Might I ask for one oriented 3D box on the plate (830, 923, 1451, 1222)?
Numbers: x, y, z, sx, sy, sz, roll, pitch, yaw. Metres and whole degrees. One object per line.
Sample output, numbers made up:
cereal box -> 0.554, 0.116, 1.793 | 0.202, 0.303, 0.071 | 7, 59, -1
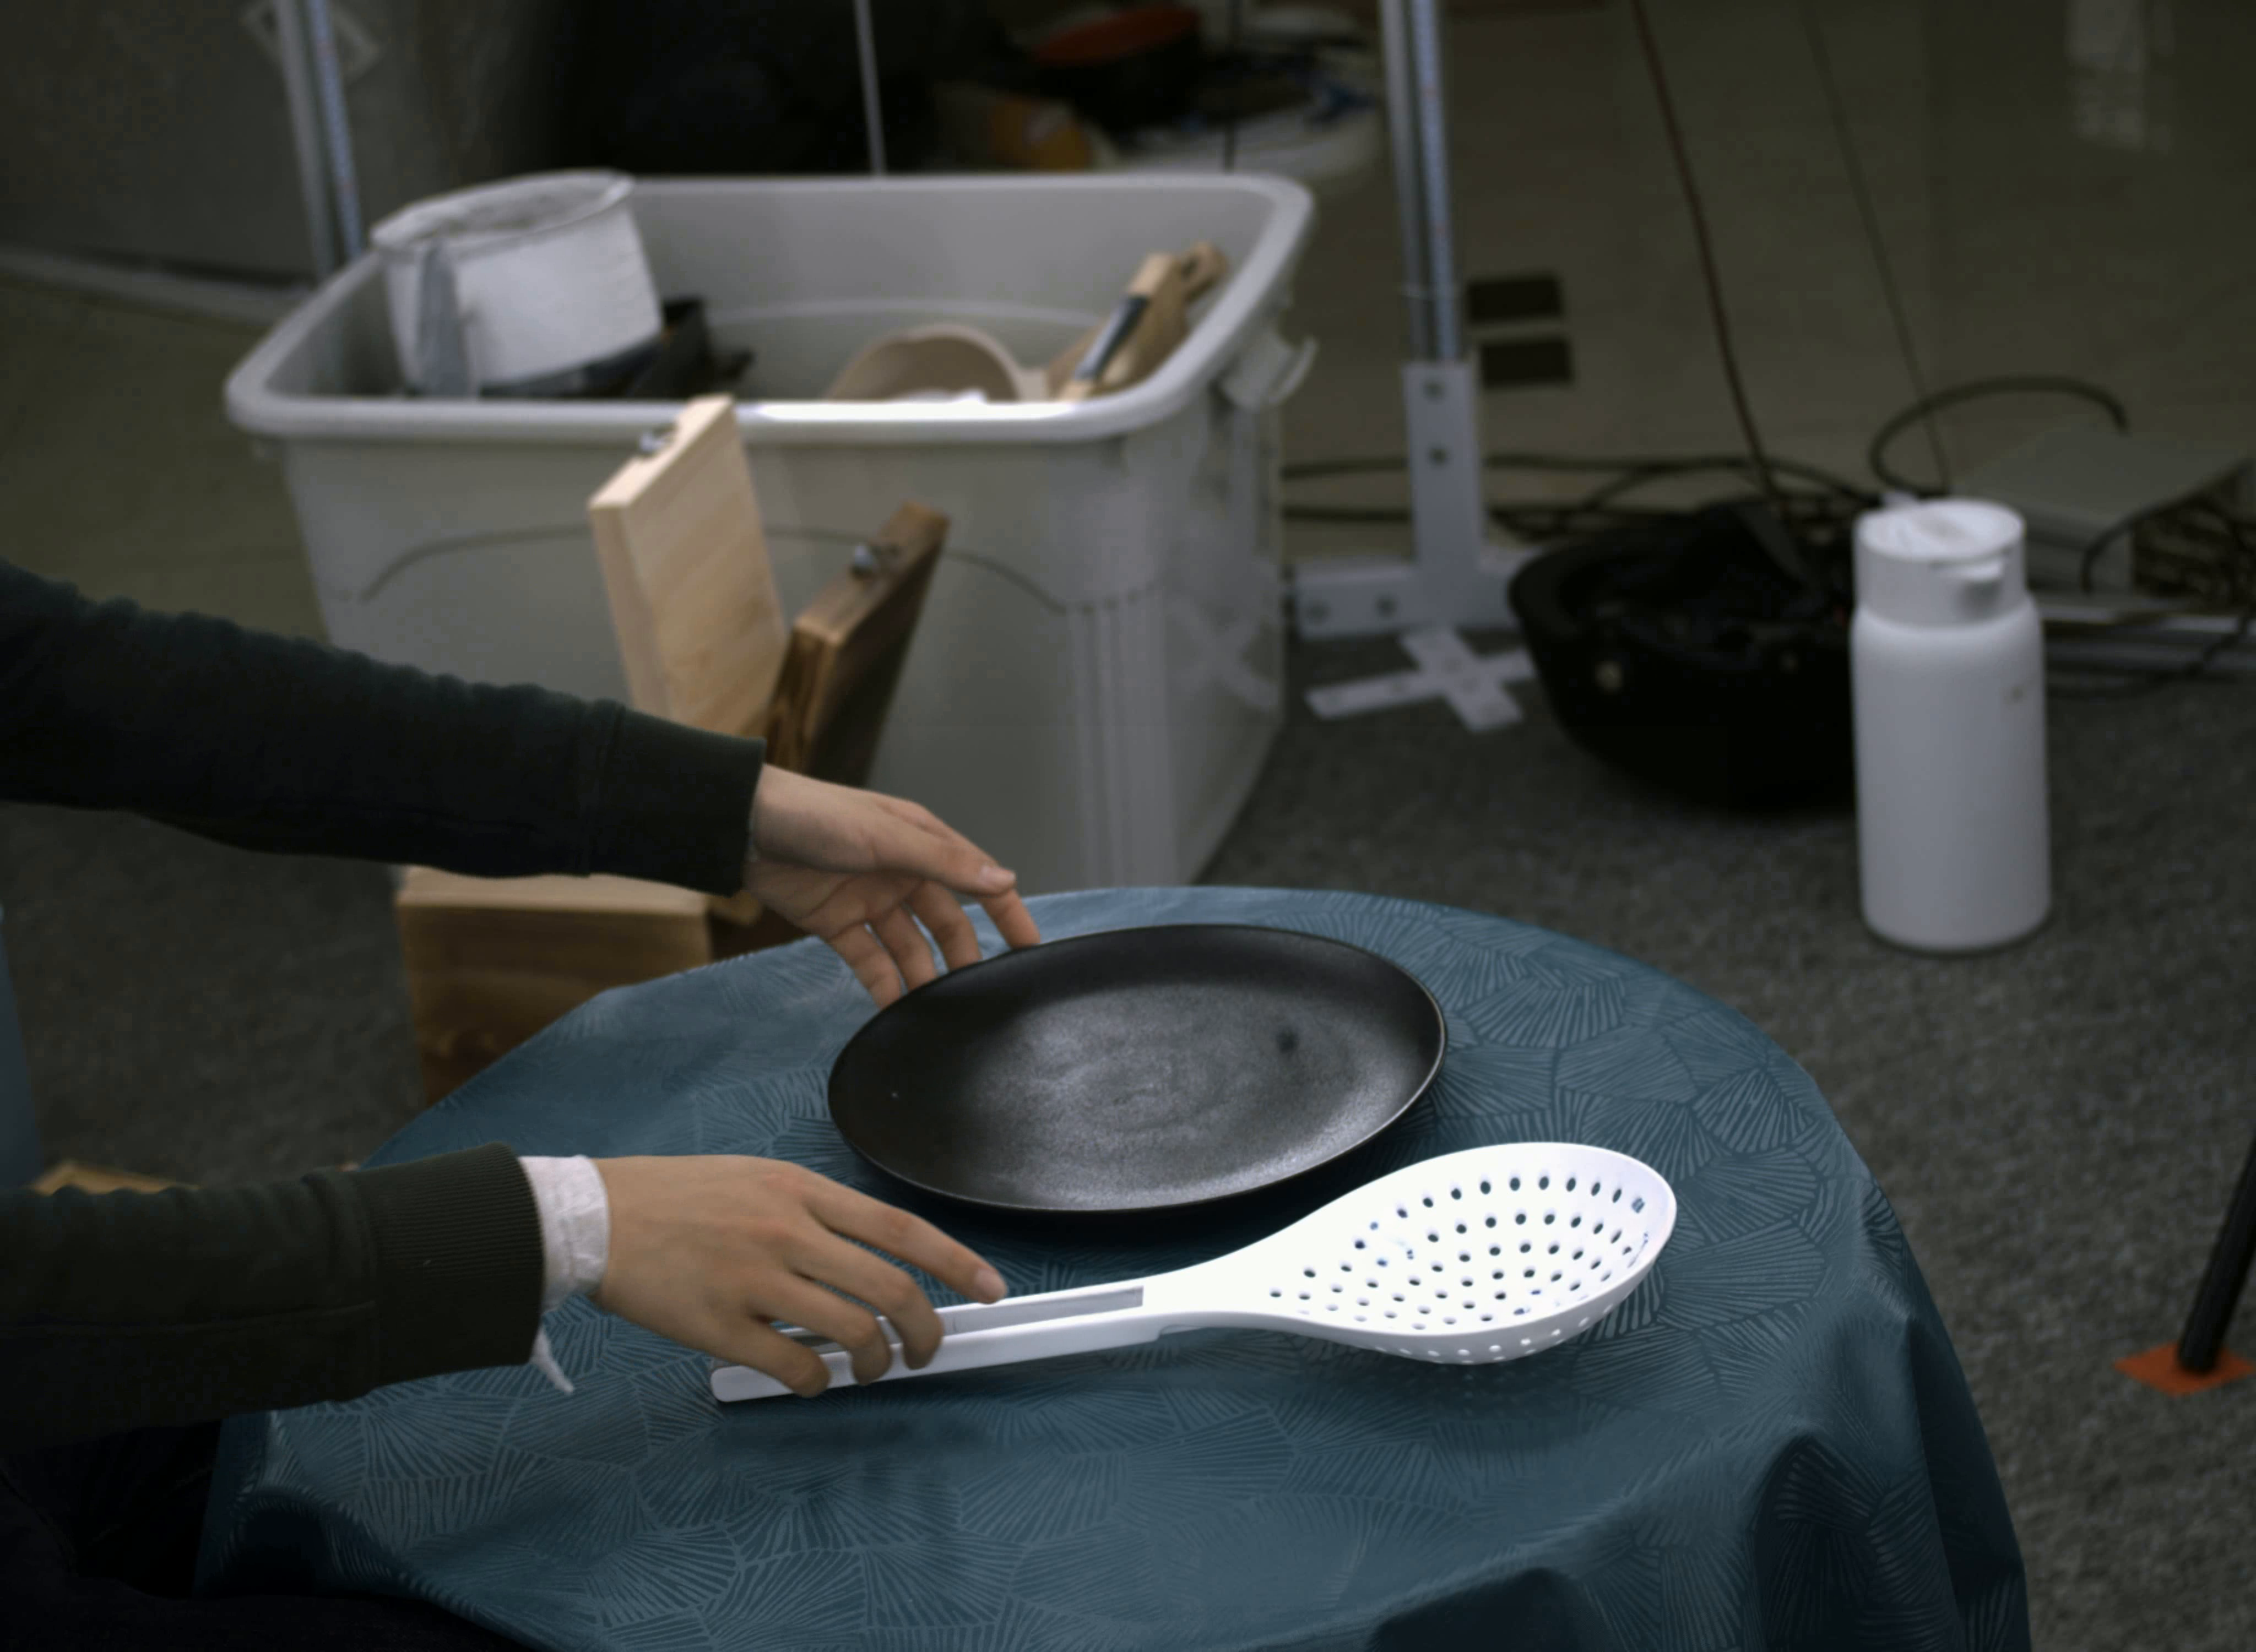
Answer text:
plate -> 0.005, 0.101, 2.206 | 0.244, 0.024, 0.241 | -5, 25, 3

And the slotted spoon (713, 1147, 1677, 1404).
slotted spoon -> 0.022, 0.170, 2.026 | 0.349, 0.046, 0.134 | -5, 23, 5
